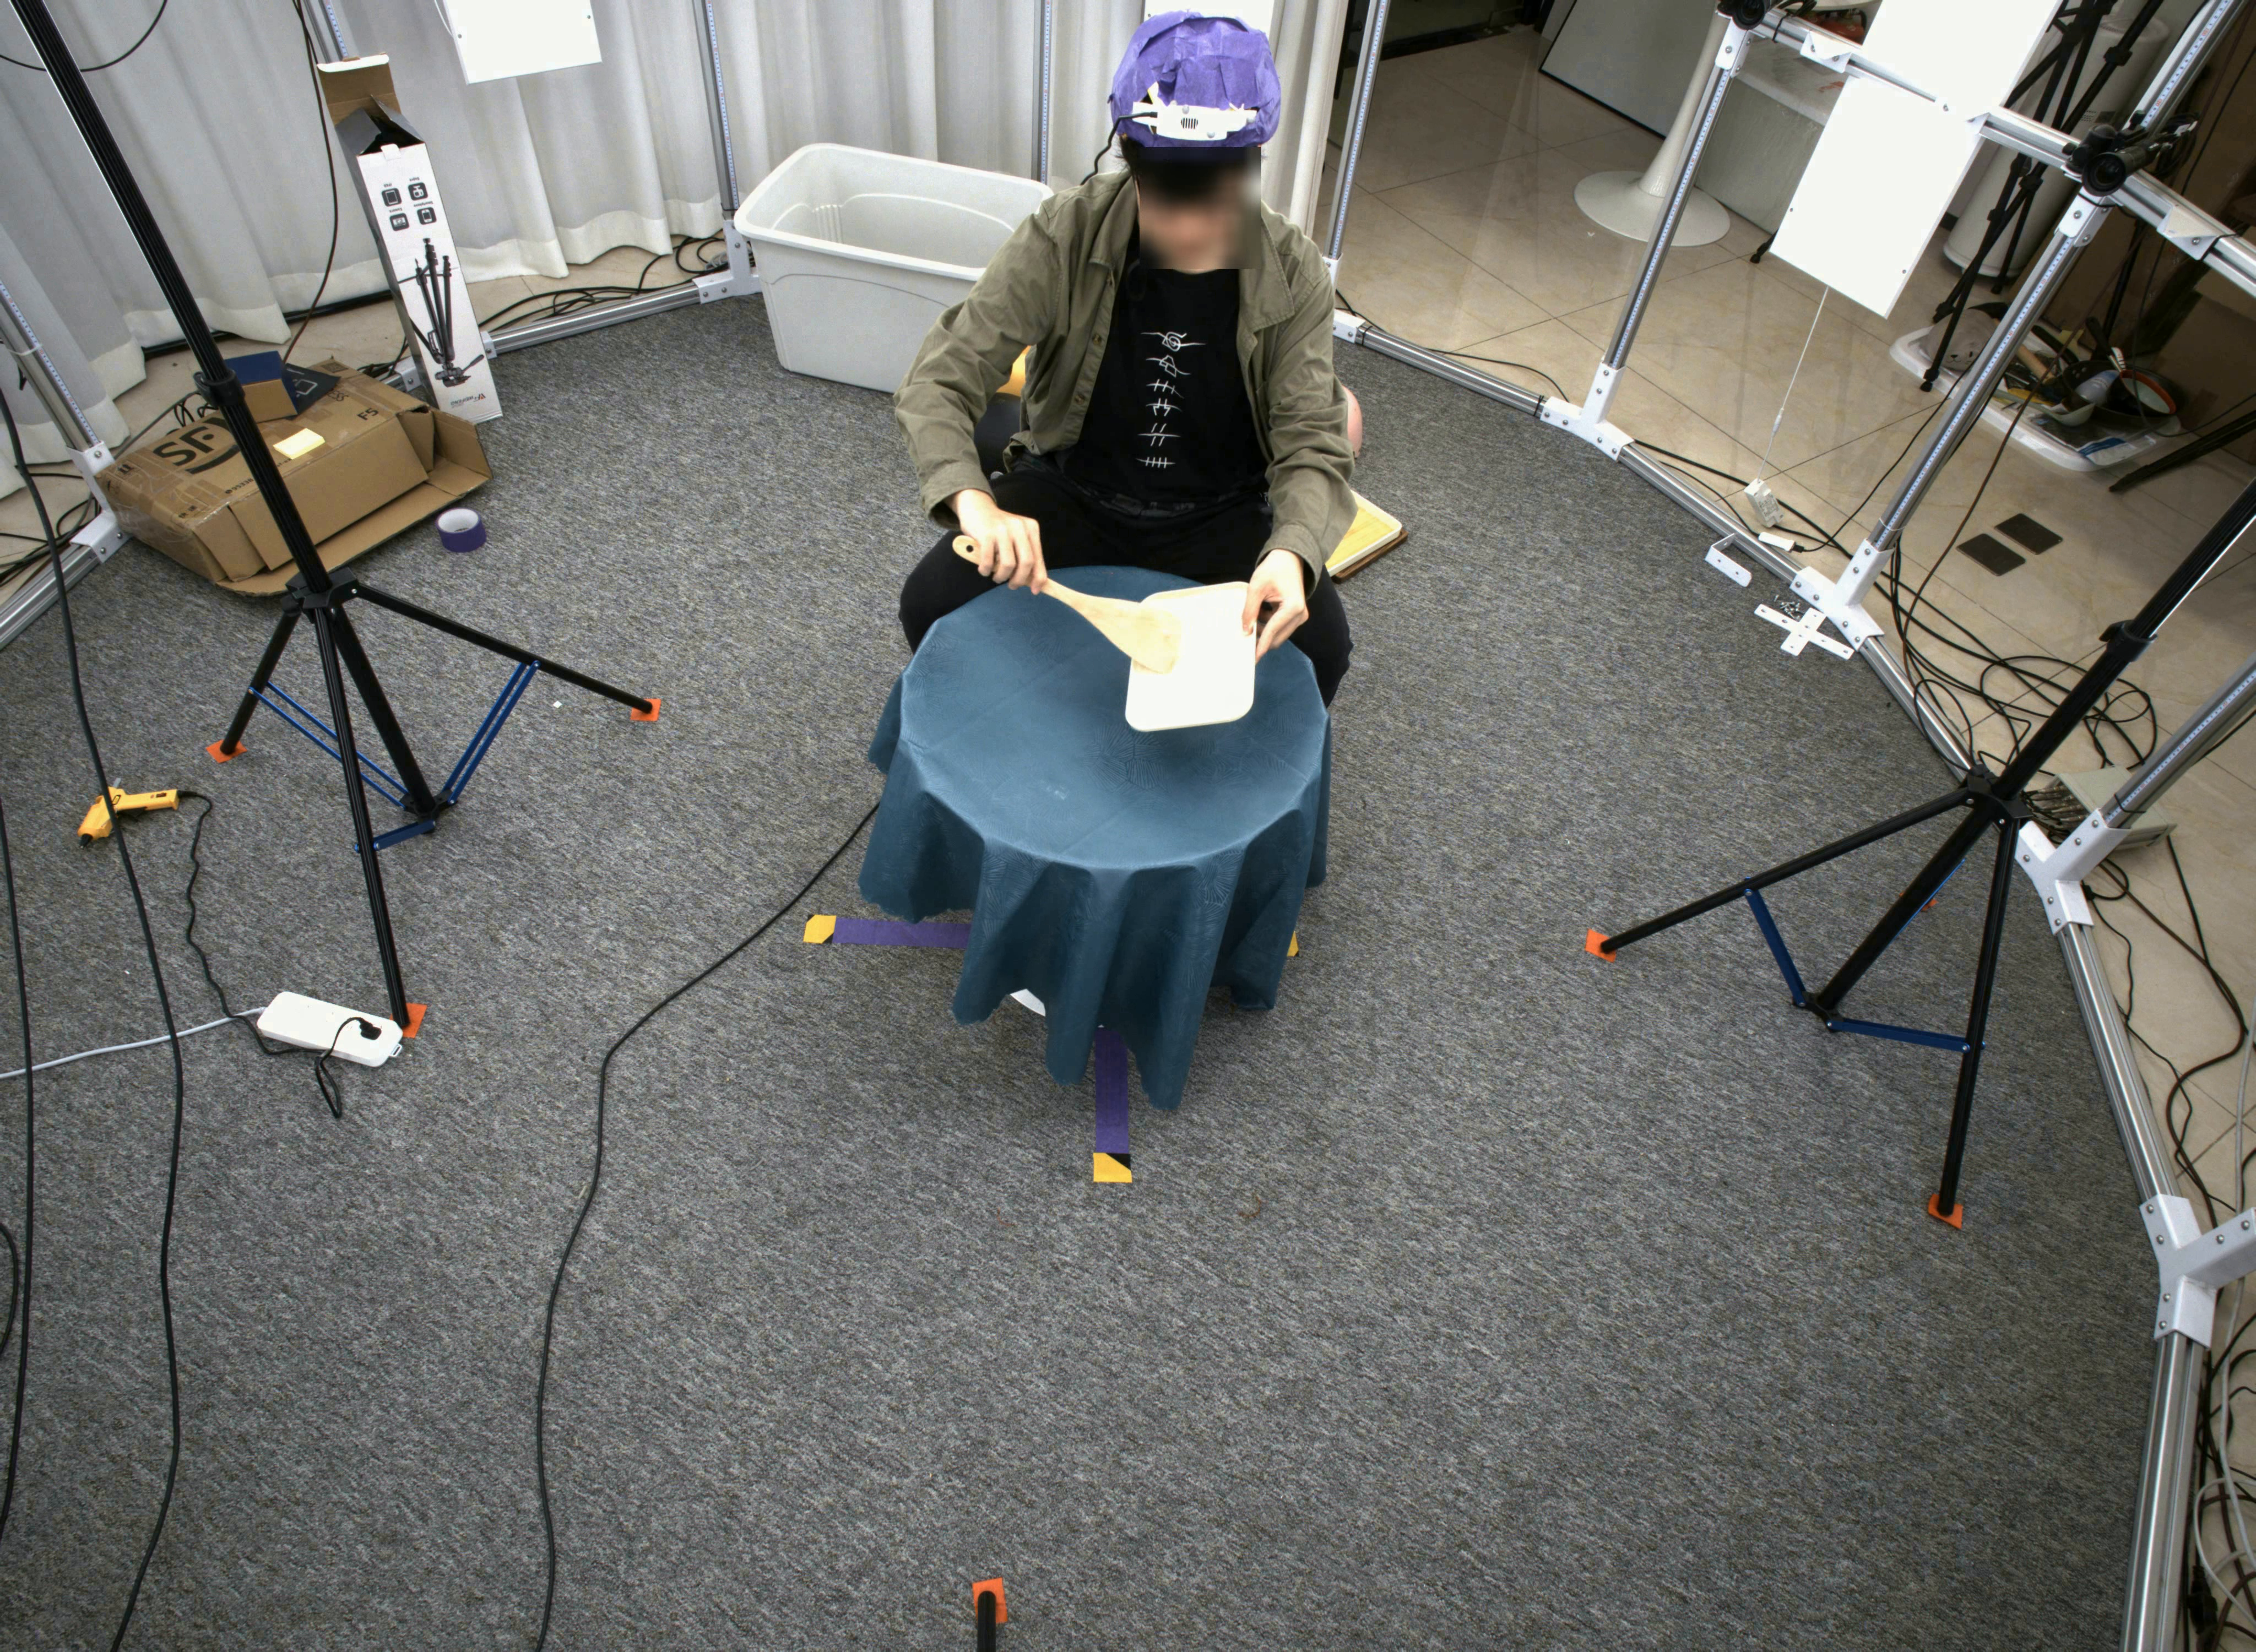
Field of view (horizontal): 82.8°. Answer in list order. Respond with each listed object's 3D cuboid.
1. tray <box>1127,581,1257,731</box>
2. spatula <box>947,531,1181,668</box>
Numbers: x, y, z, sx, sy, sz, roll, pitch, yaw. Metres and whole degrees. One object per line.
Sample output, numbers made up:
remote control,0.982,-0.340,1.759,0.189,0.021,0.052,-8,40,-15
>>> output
tray,0.087,-0.225,1.694,0.171,0.017,0.245,-6,53,16
spatula,-0.081,-0.306,1.672,0.326,0.079,0.017,24,20,-7
